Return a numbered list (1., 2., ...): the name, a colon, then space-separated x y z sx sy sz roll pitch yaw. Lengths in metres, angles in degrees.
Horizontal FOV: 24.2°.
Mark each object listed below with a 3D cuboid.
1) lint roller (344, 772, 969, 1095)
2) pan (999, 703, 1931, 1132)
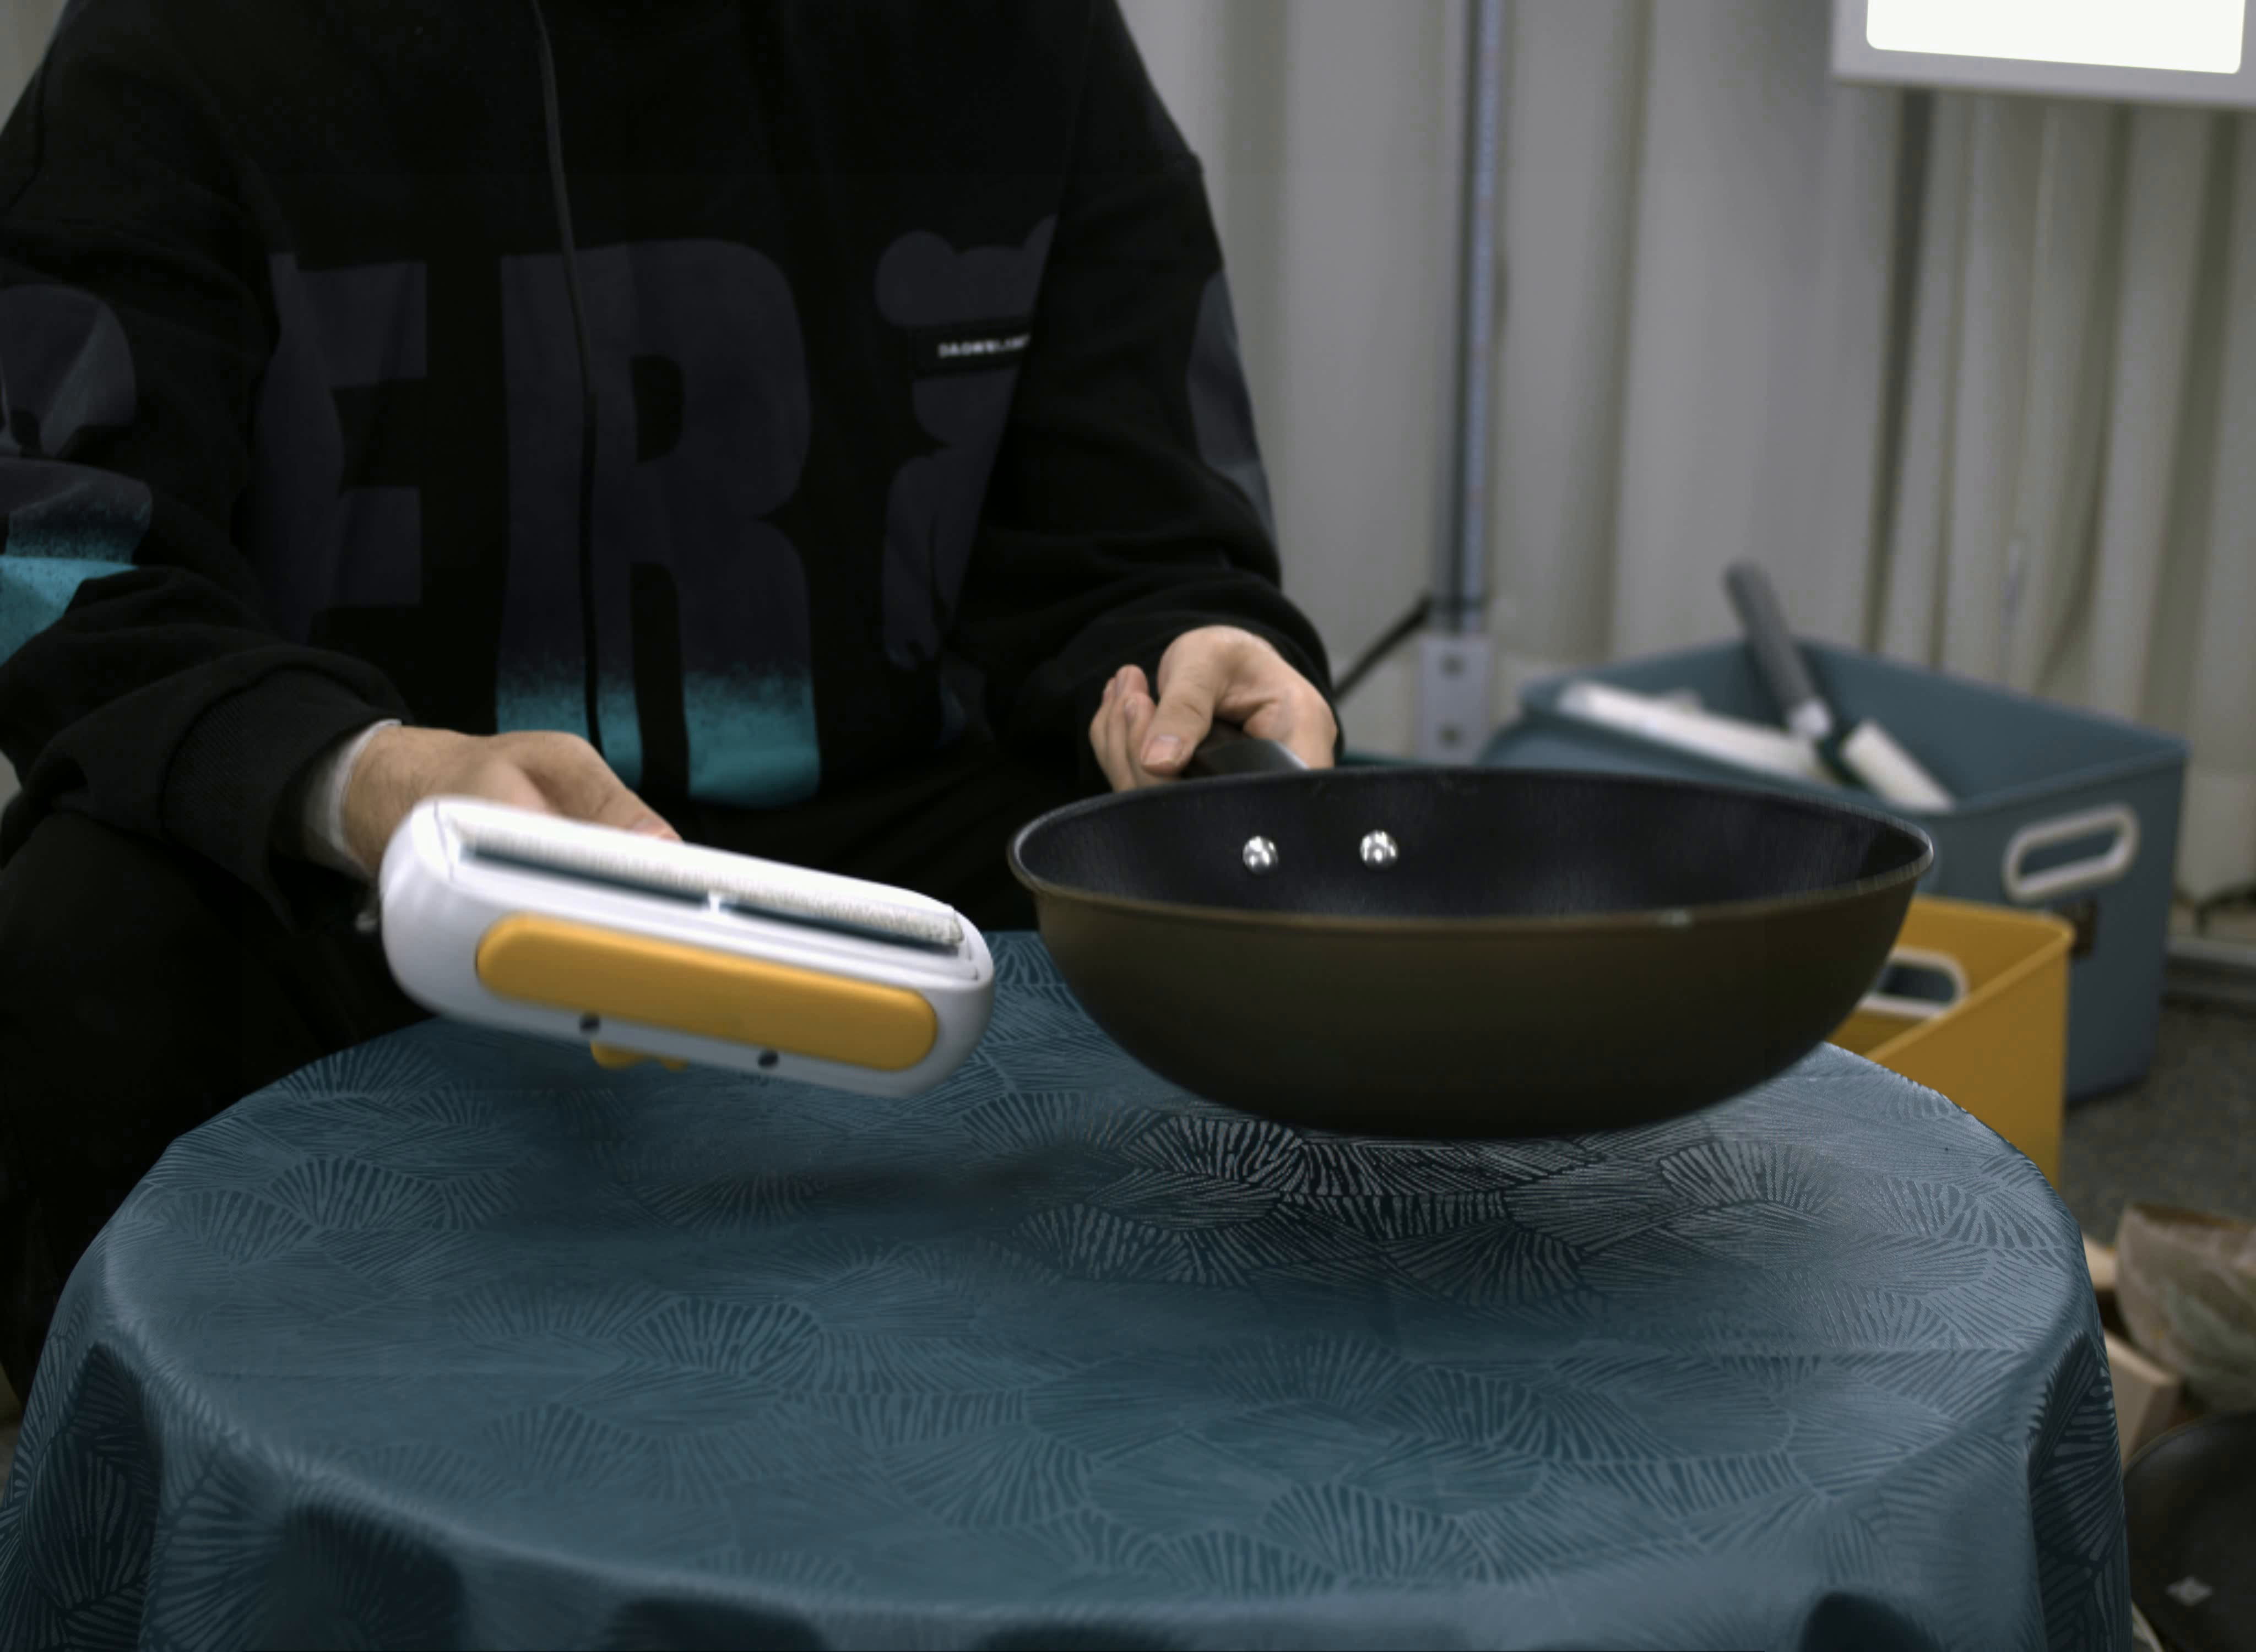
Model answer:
1. lint roller: -0.156 0.021 1.638 0.193 0.074 0.190 11 16 -18
2. pan: 0.073 0.026 1.691 0.289 0.087 0.459 -3 9 -19
